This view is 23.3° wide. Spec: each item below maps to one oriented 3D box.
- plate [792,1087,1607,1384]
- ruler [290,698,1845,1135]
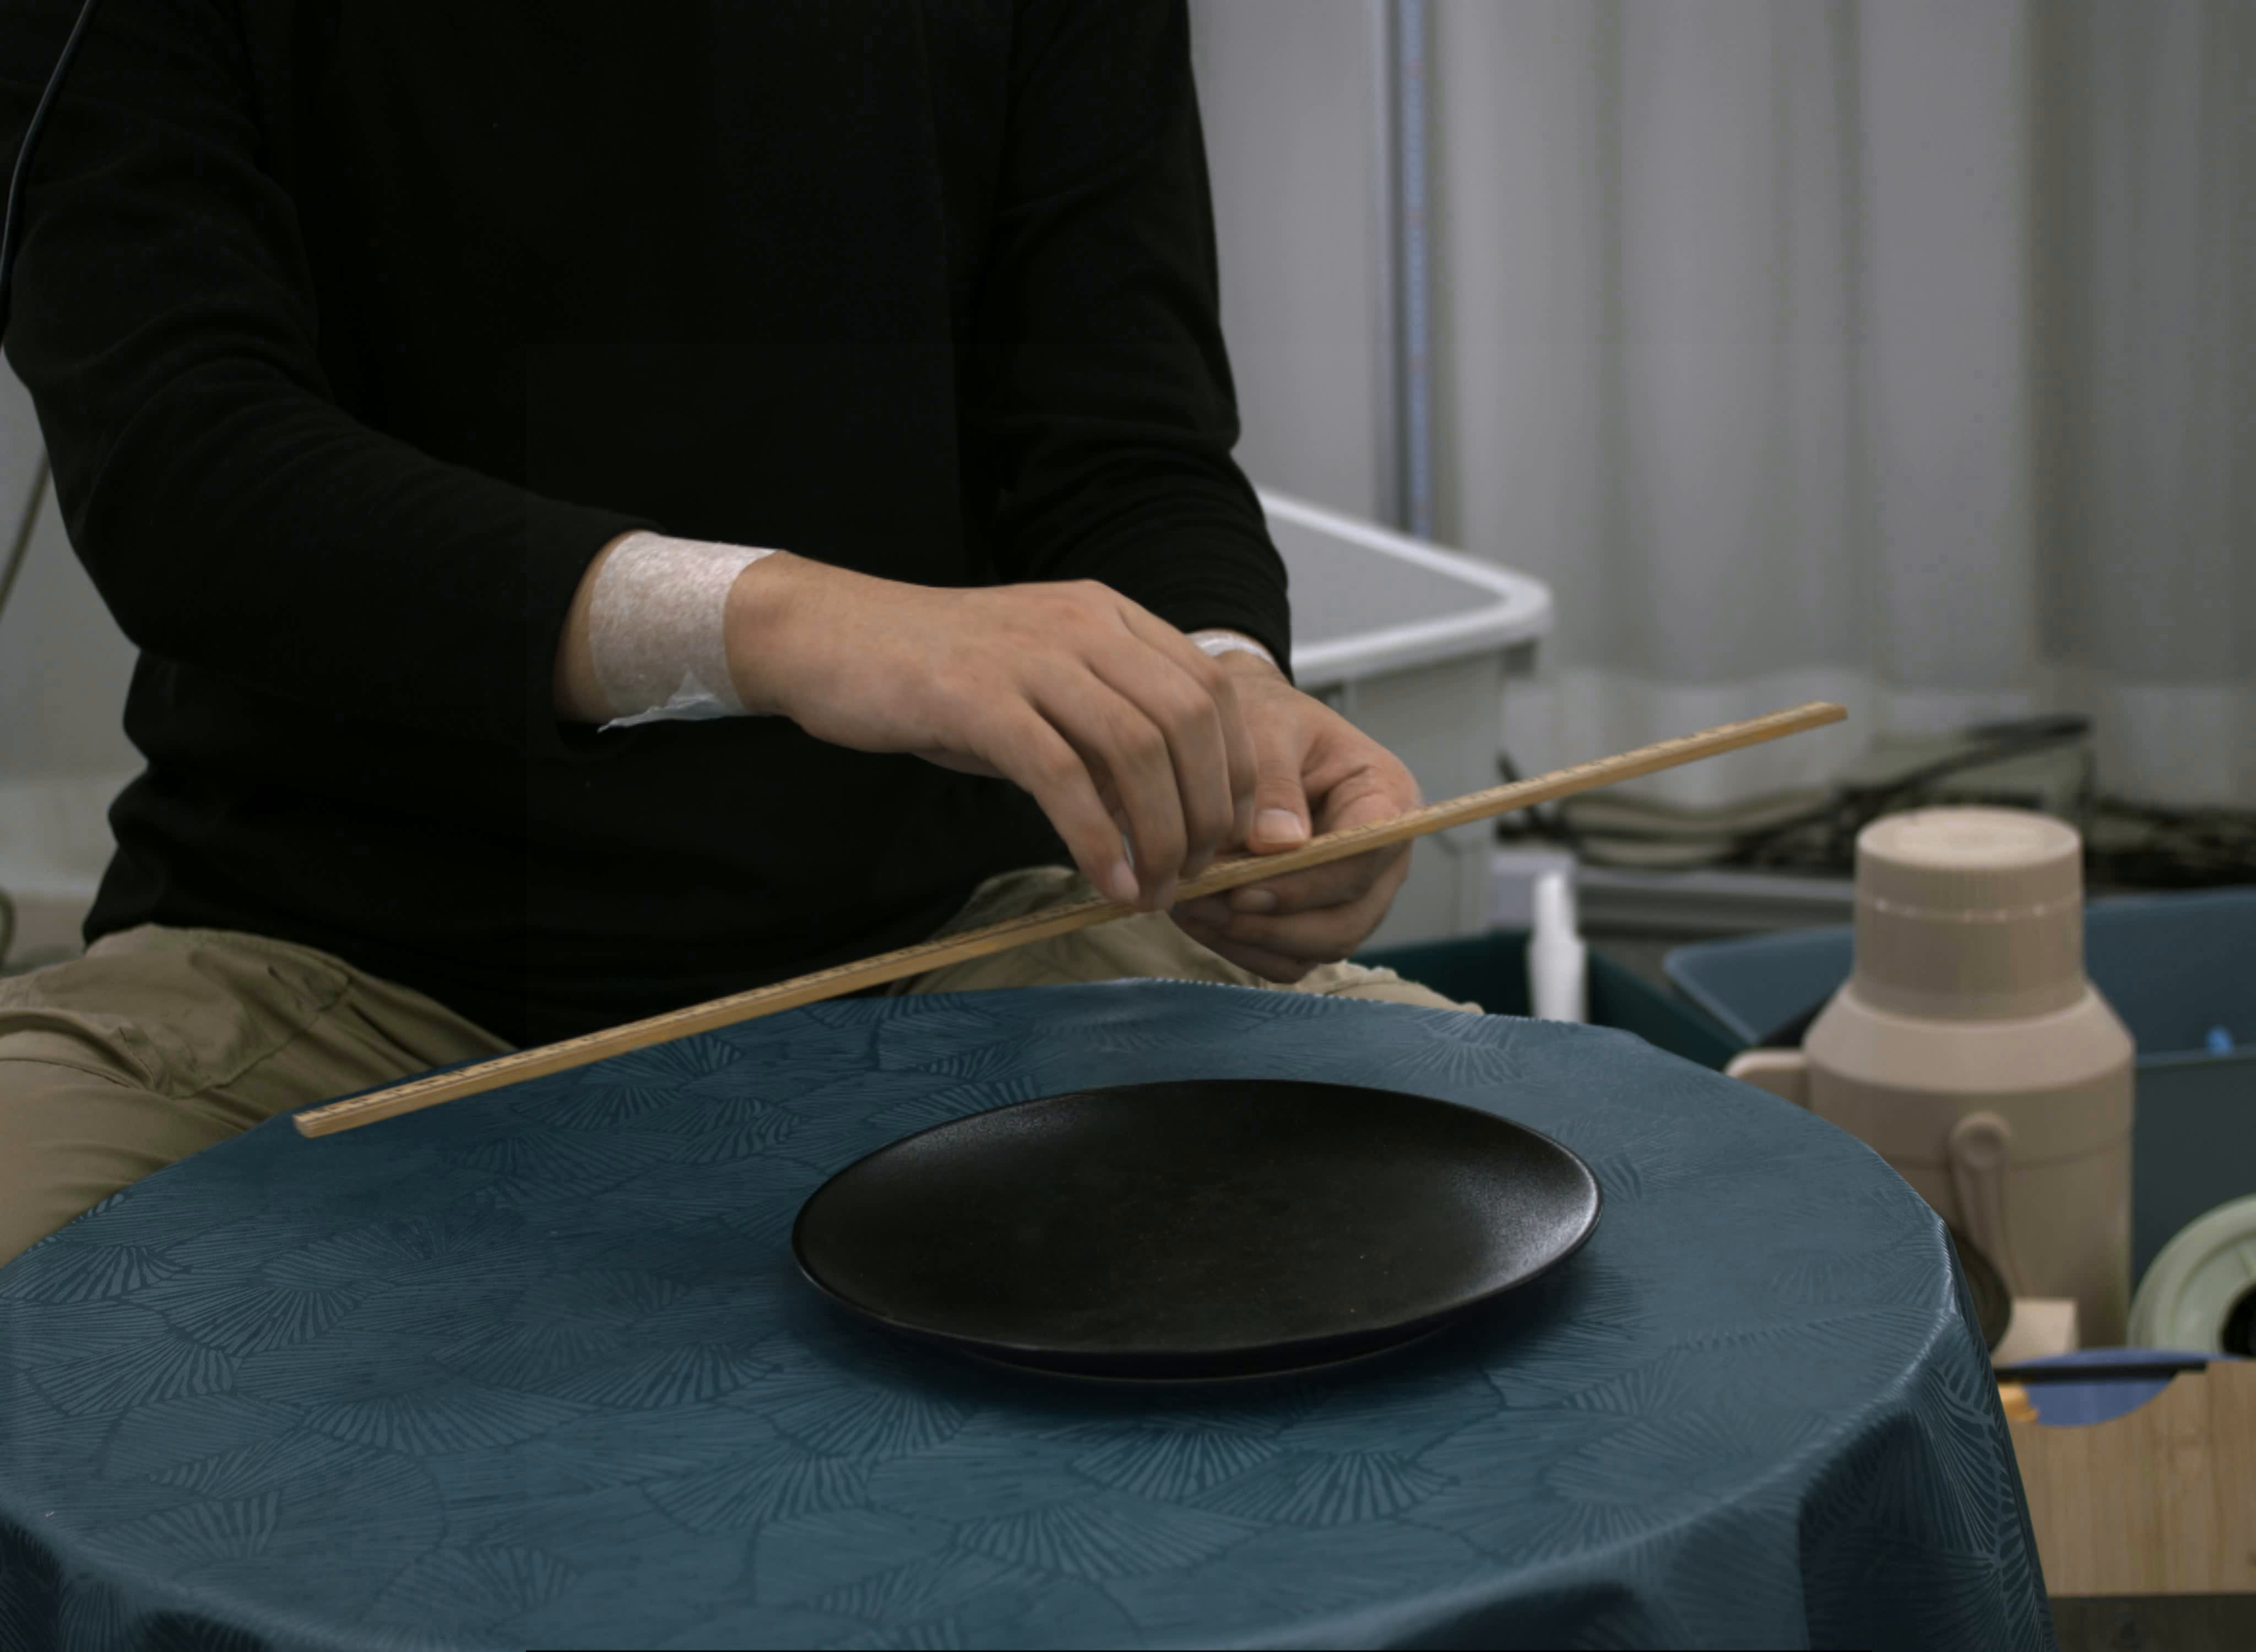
[{"bbox_3d":[0.022,0.124,1.631,0.243,0.023,0.246,-3,15,0],"label":"plate"},{"bbox_3d":[-0.011,0.025,1.661,0.499,0.006,0.027,-15,6,-15],"label":"ruler"}]
